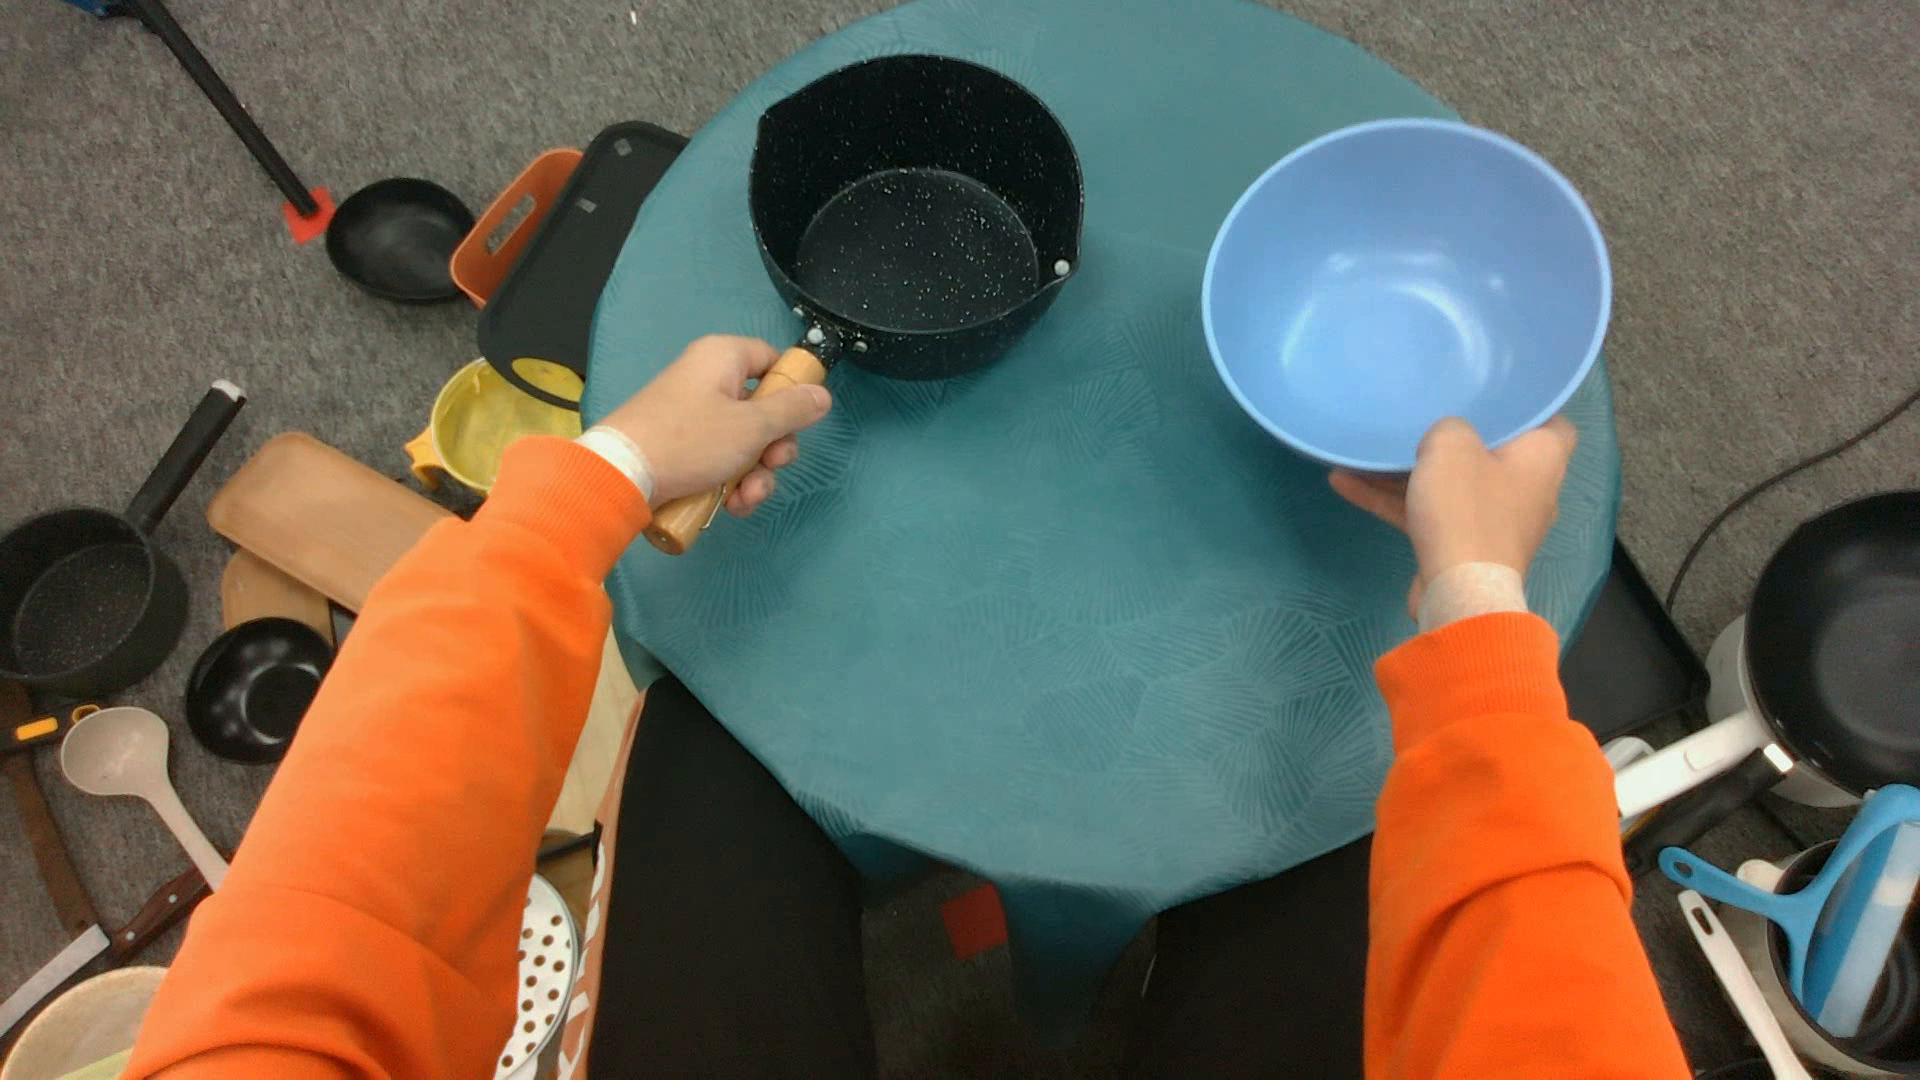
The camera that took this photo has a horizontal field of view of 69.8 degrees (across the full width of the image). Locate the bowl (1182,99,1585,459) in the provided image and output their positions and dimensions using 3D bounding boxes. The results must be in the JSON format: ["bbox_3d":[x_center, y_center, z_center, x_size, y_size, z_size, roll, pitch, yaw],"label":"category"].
[{"bbox_3d":[0.222,-0.125,0.741,0.196,0.095,0.197,-4,73,12],"label":"bowl"}]

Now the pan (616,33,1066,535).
[{"bbox_3d":[-0.072,-0.127,0.751,0.207,0.108,0.344,27,68,7],"label":"pan"}]
